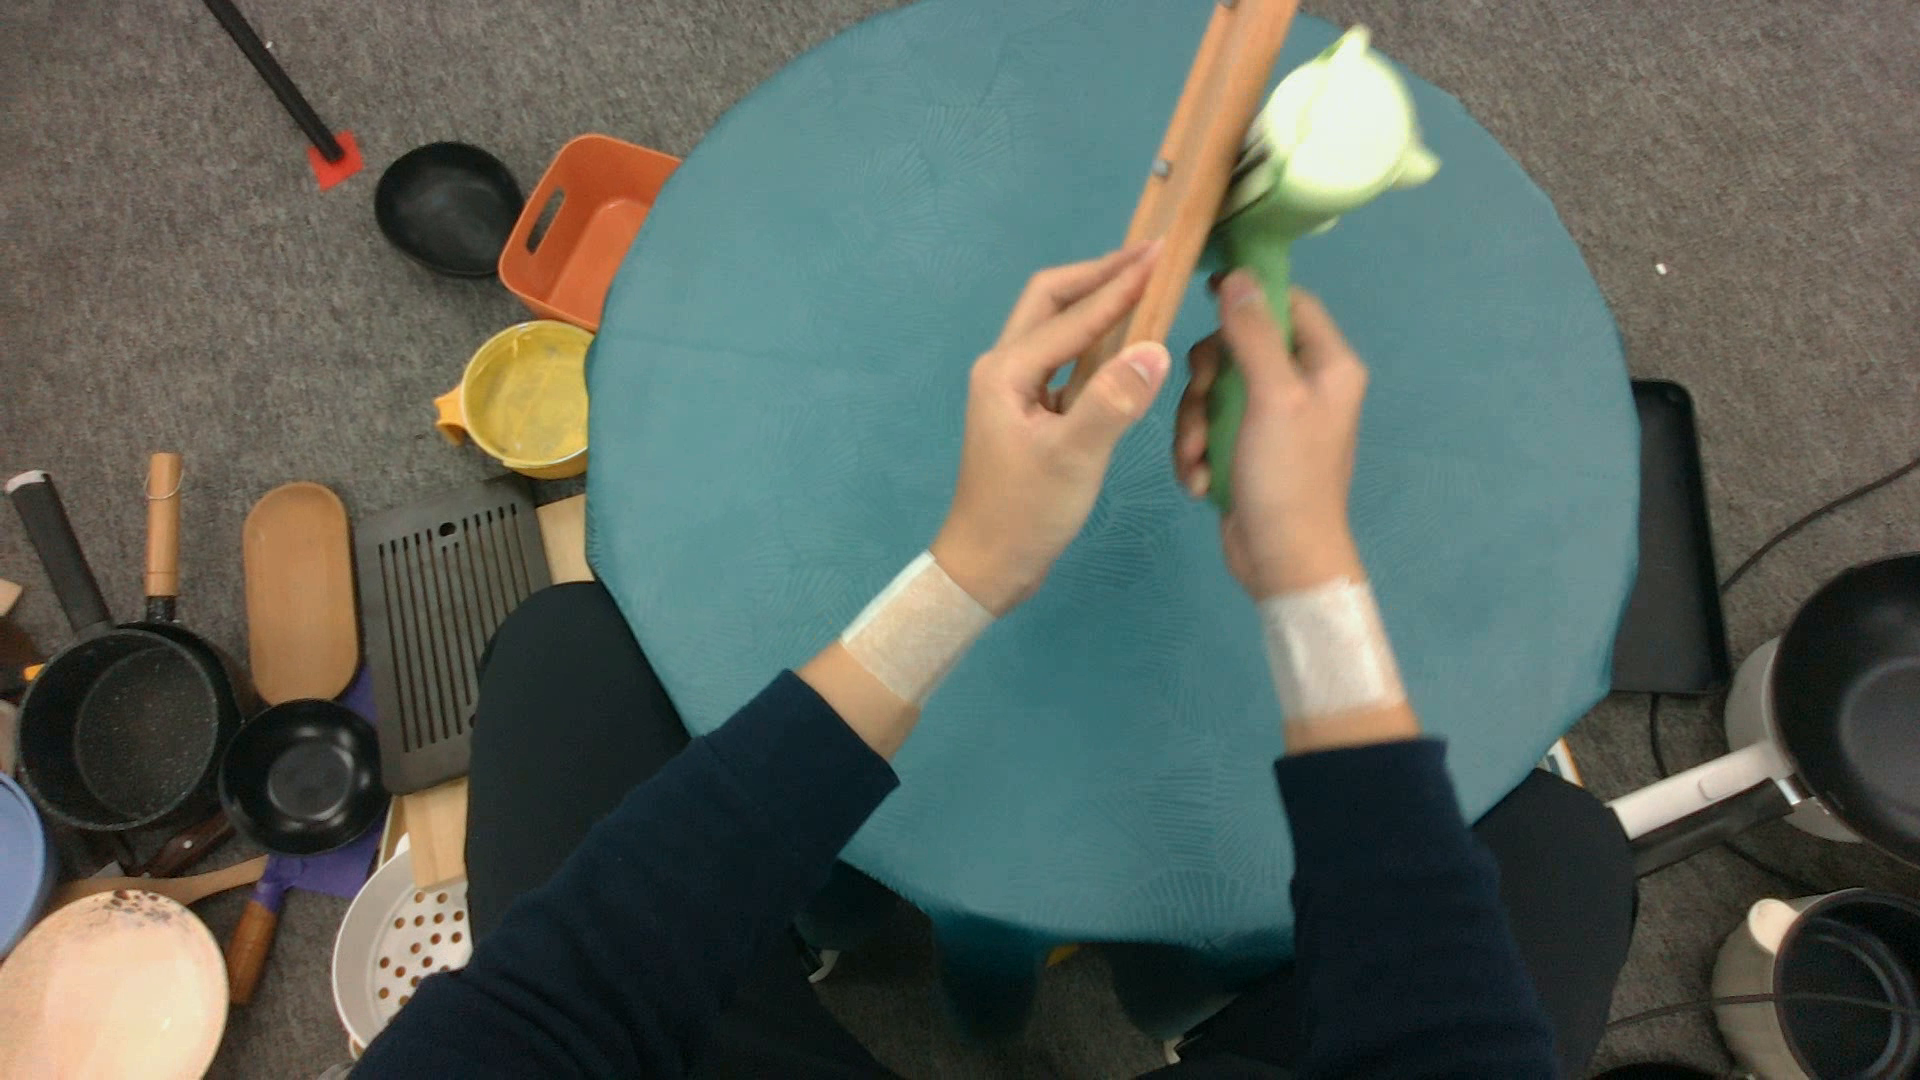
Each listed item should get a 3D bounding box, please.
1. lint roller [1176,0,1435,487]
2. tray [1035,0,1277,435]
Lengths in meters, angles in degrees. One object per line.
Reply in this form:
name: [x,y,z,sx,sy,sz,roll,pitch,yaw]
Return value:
lint roller: [0.140,-0.117,0.585,0.082,0.198,0.183,-6,94,-4]
tray: [0.089,-0.161,0.582,0.023,0.130,0.250,20,92,-4]
